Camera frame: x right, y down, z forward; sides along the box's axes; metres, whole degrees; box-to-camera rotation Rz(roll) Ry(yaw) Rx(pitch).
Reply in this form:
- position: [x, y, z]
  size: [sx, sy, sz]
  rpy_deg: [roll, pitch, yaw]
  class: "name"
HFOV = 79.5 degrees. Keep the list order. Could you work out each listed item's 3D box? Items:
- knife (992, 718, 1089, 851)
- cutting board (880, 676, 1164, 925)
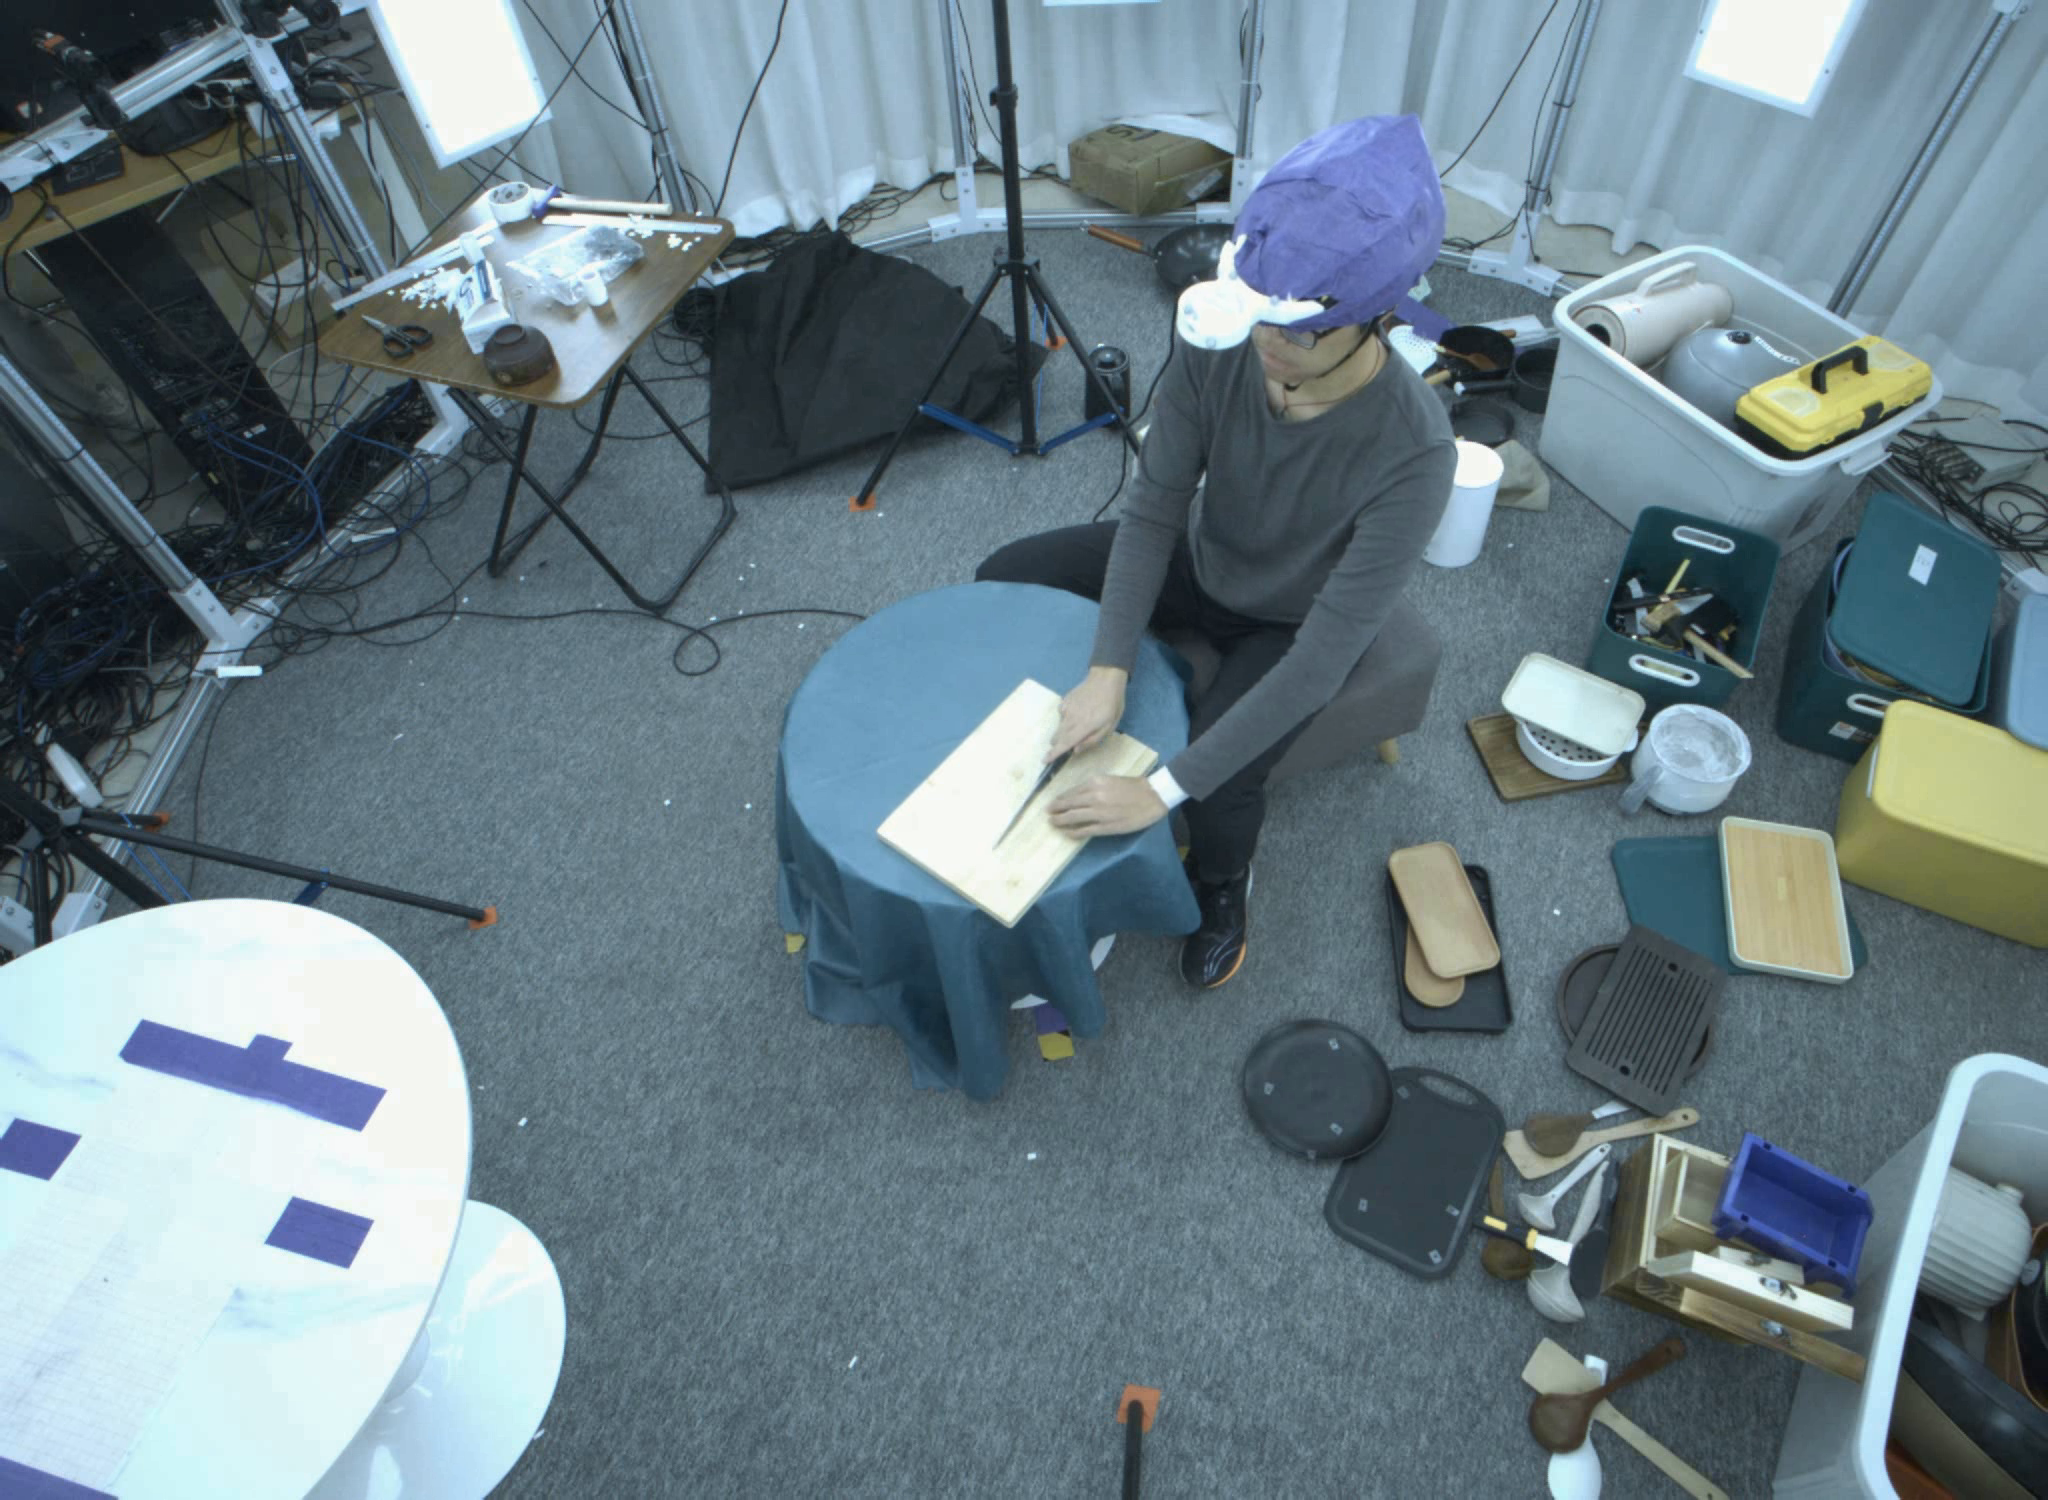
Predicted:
- position: [0.022, 0.045, 1.699]
  size: [0.016, 0.025, 0.239]
  rpy_deg: [28, 67, 21]
  class: "knife"
- position: [-0.001, 0.060, 1.743]
  size: [0.247, 0.024, 0.350]
  rpy_deg: [32, 61, 21]
  class: "cutting board"
